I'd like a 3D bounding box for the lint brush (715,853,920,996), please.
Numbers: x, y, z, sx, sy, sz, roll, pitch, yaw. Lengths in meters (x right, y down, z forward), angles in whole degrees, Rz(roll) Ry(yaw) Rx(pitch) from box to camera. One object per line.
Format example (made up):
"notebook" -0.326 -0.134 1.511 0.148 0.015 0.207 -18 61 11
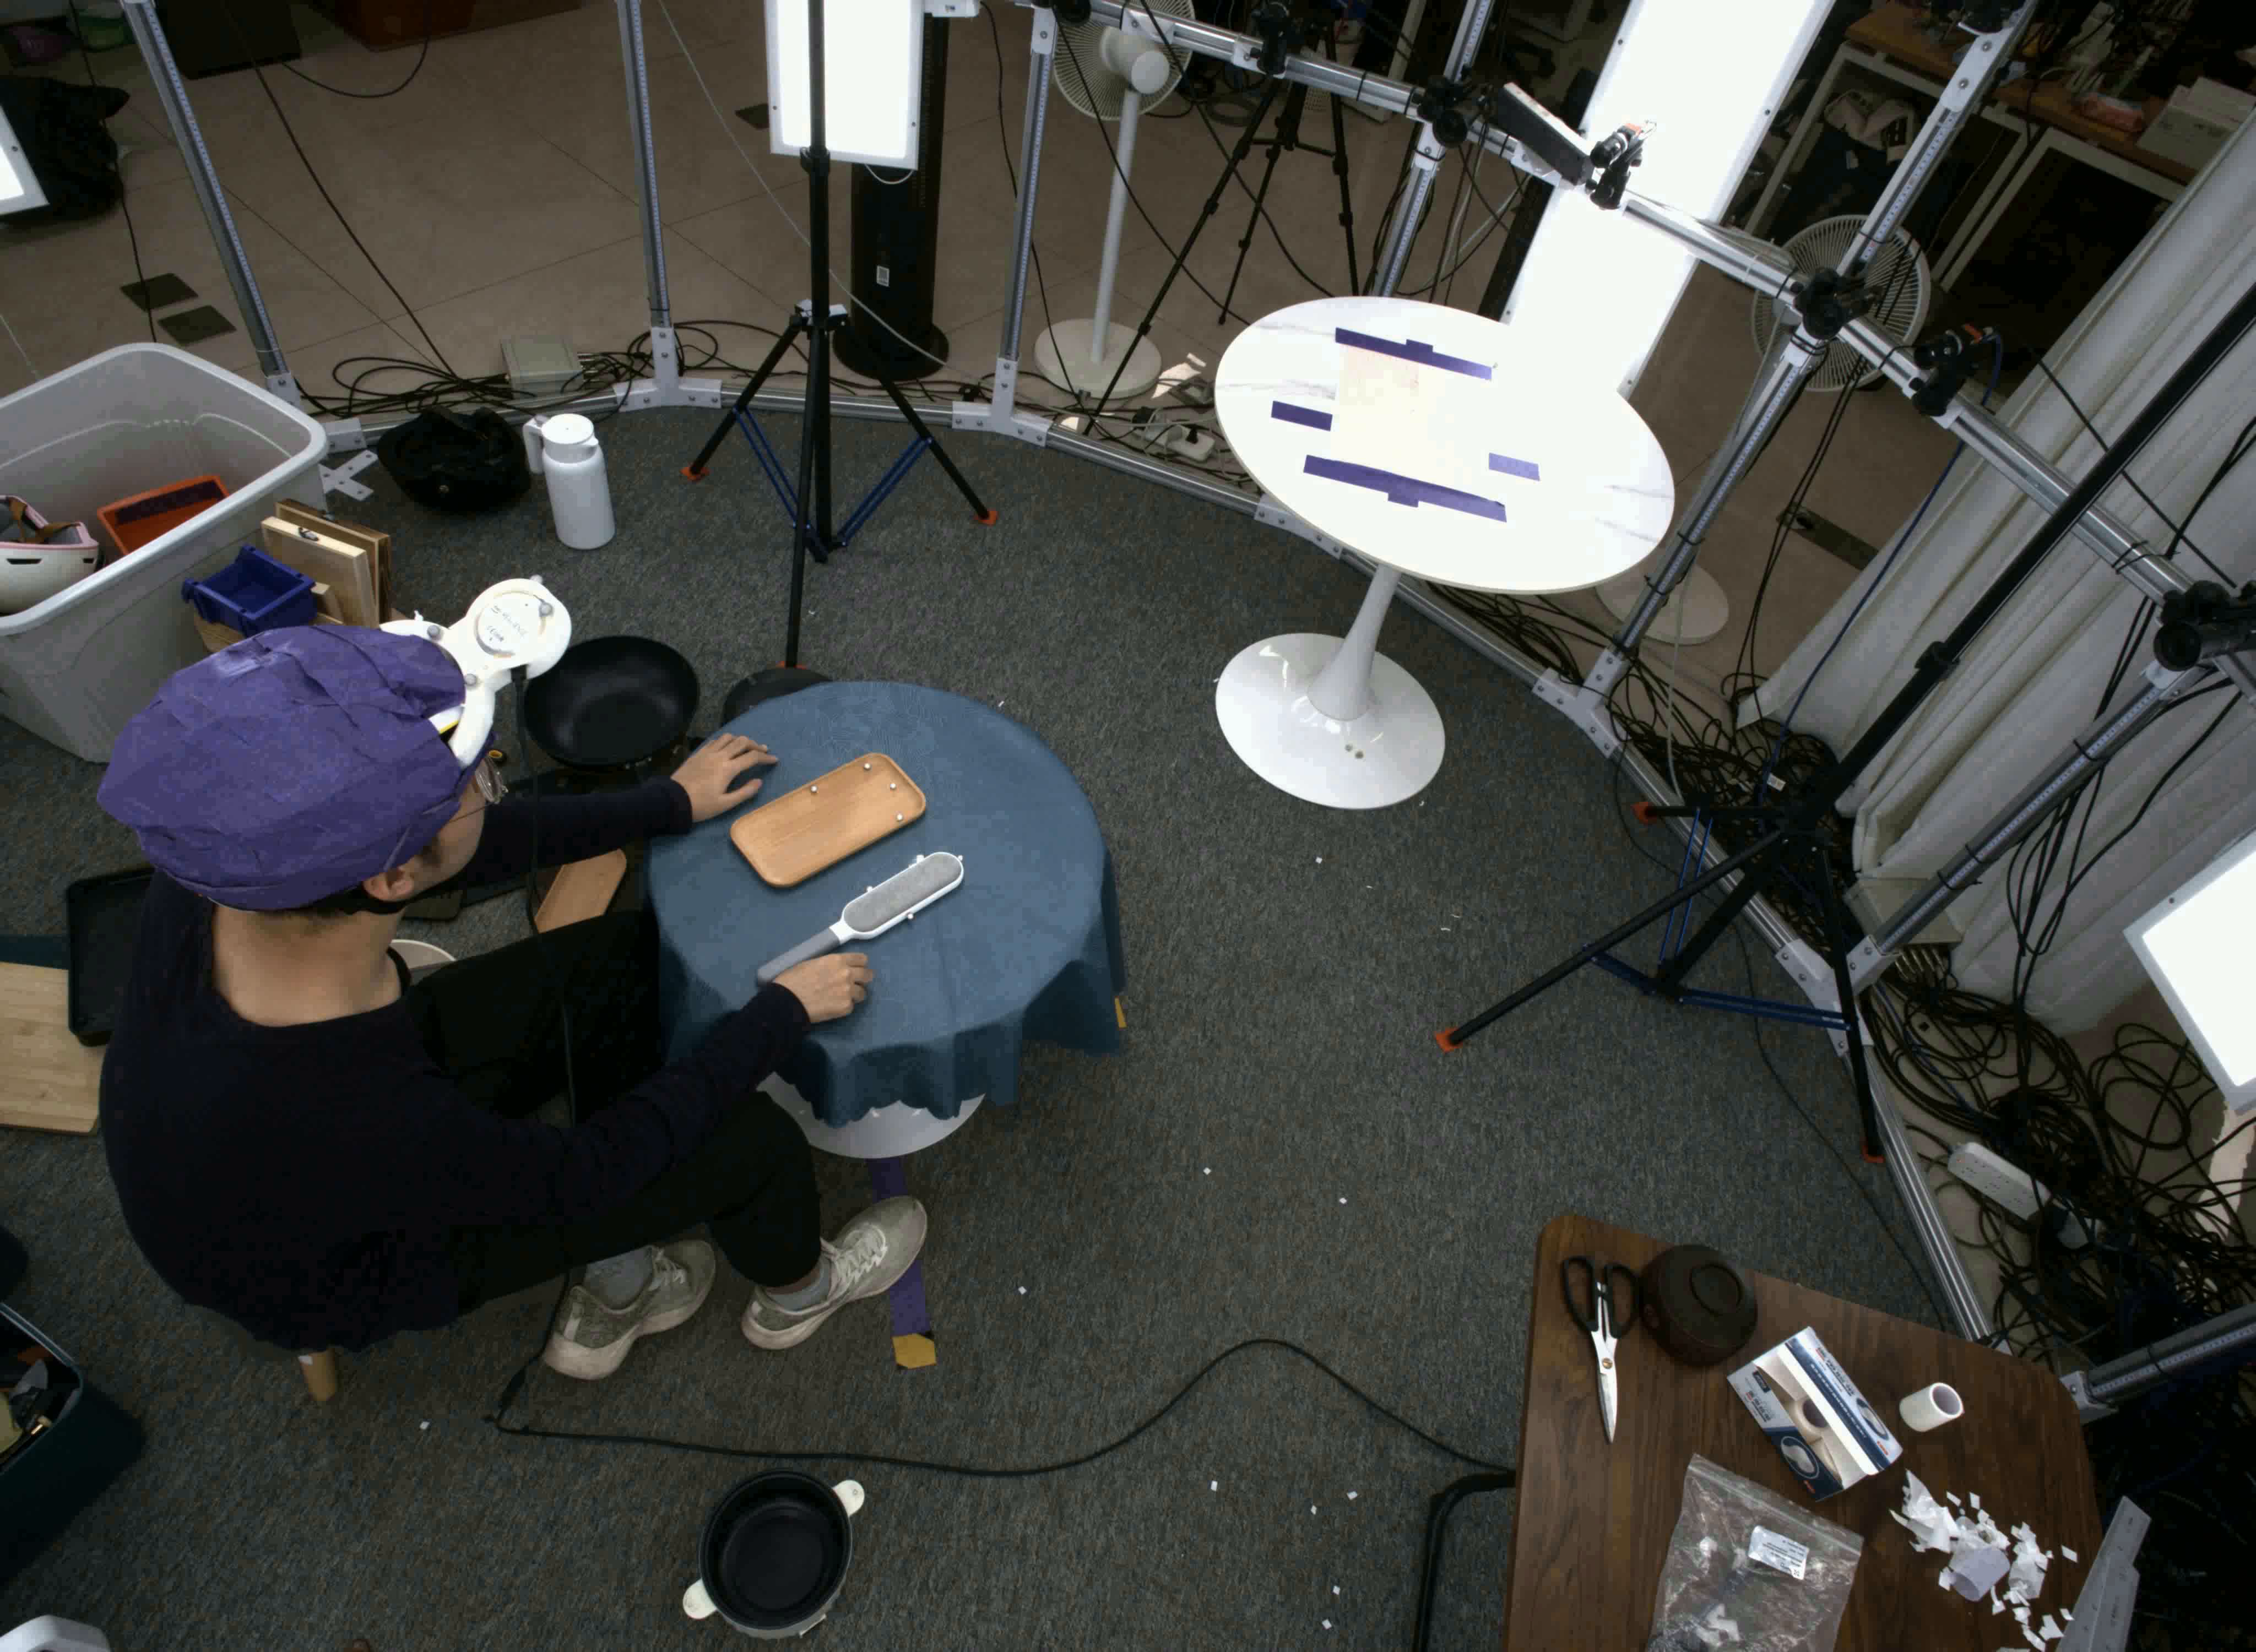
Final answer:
"lint brush" -0.389 0.120 1.638 0.309 0.021 0.059 -35 74 -33

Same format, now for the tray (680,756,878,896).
"tray" -0.460 -0.004 1.717 0.251 0.023 0.127 -32 65 -31
